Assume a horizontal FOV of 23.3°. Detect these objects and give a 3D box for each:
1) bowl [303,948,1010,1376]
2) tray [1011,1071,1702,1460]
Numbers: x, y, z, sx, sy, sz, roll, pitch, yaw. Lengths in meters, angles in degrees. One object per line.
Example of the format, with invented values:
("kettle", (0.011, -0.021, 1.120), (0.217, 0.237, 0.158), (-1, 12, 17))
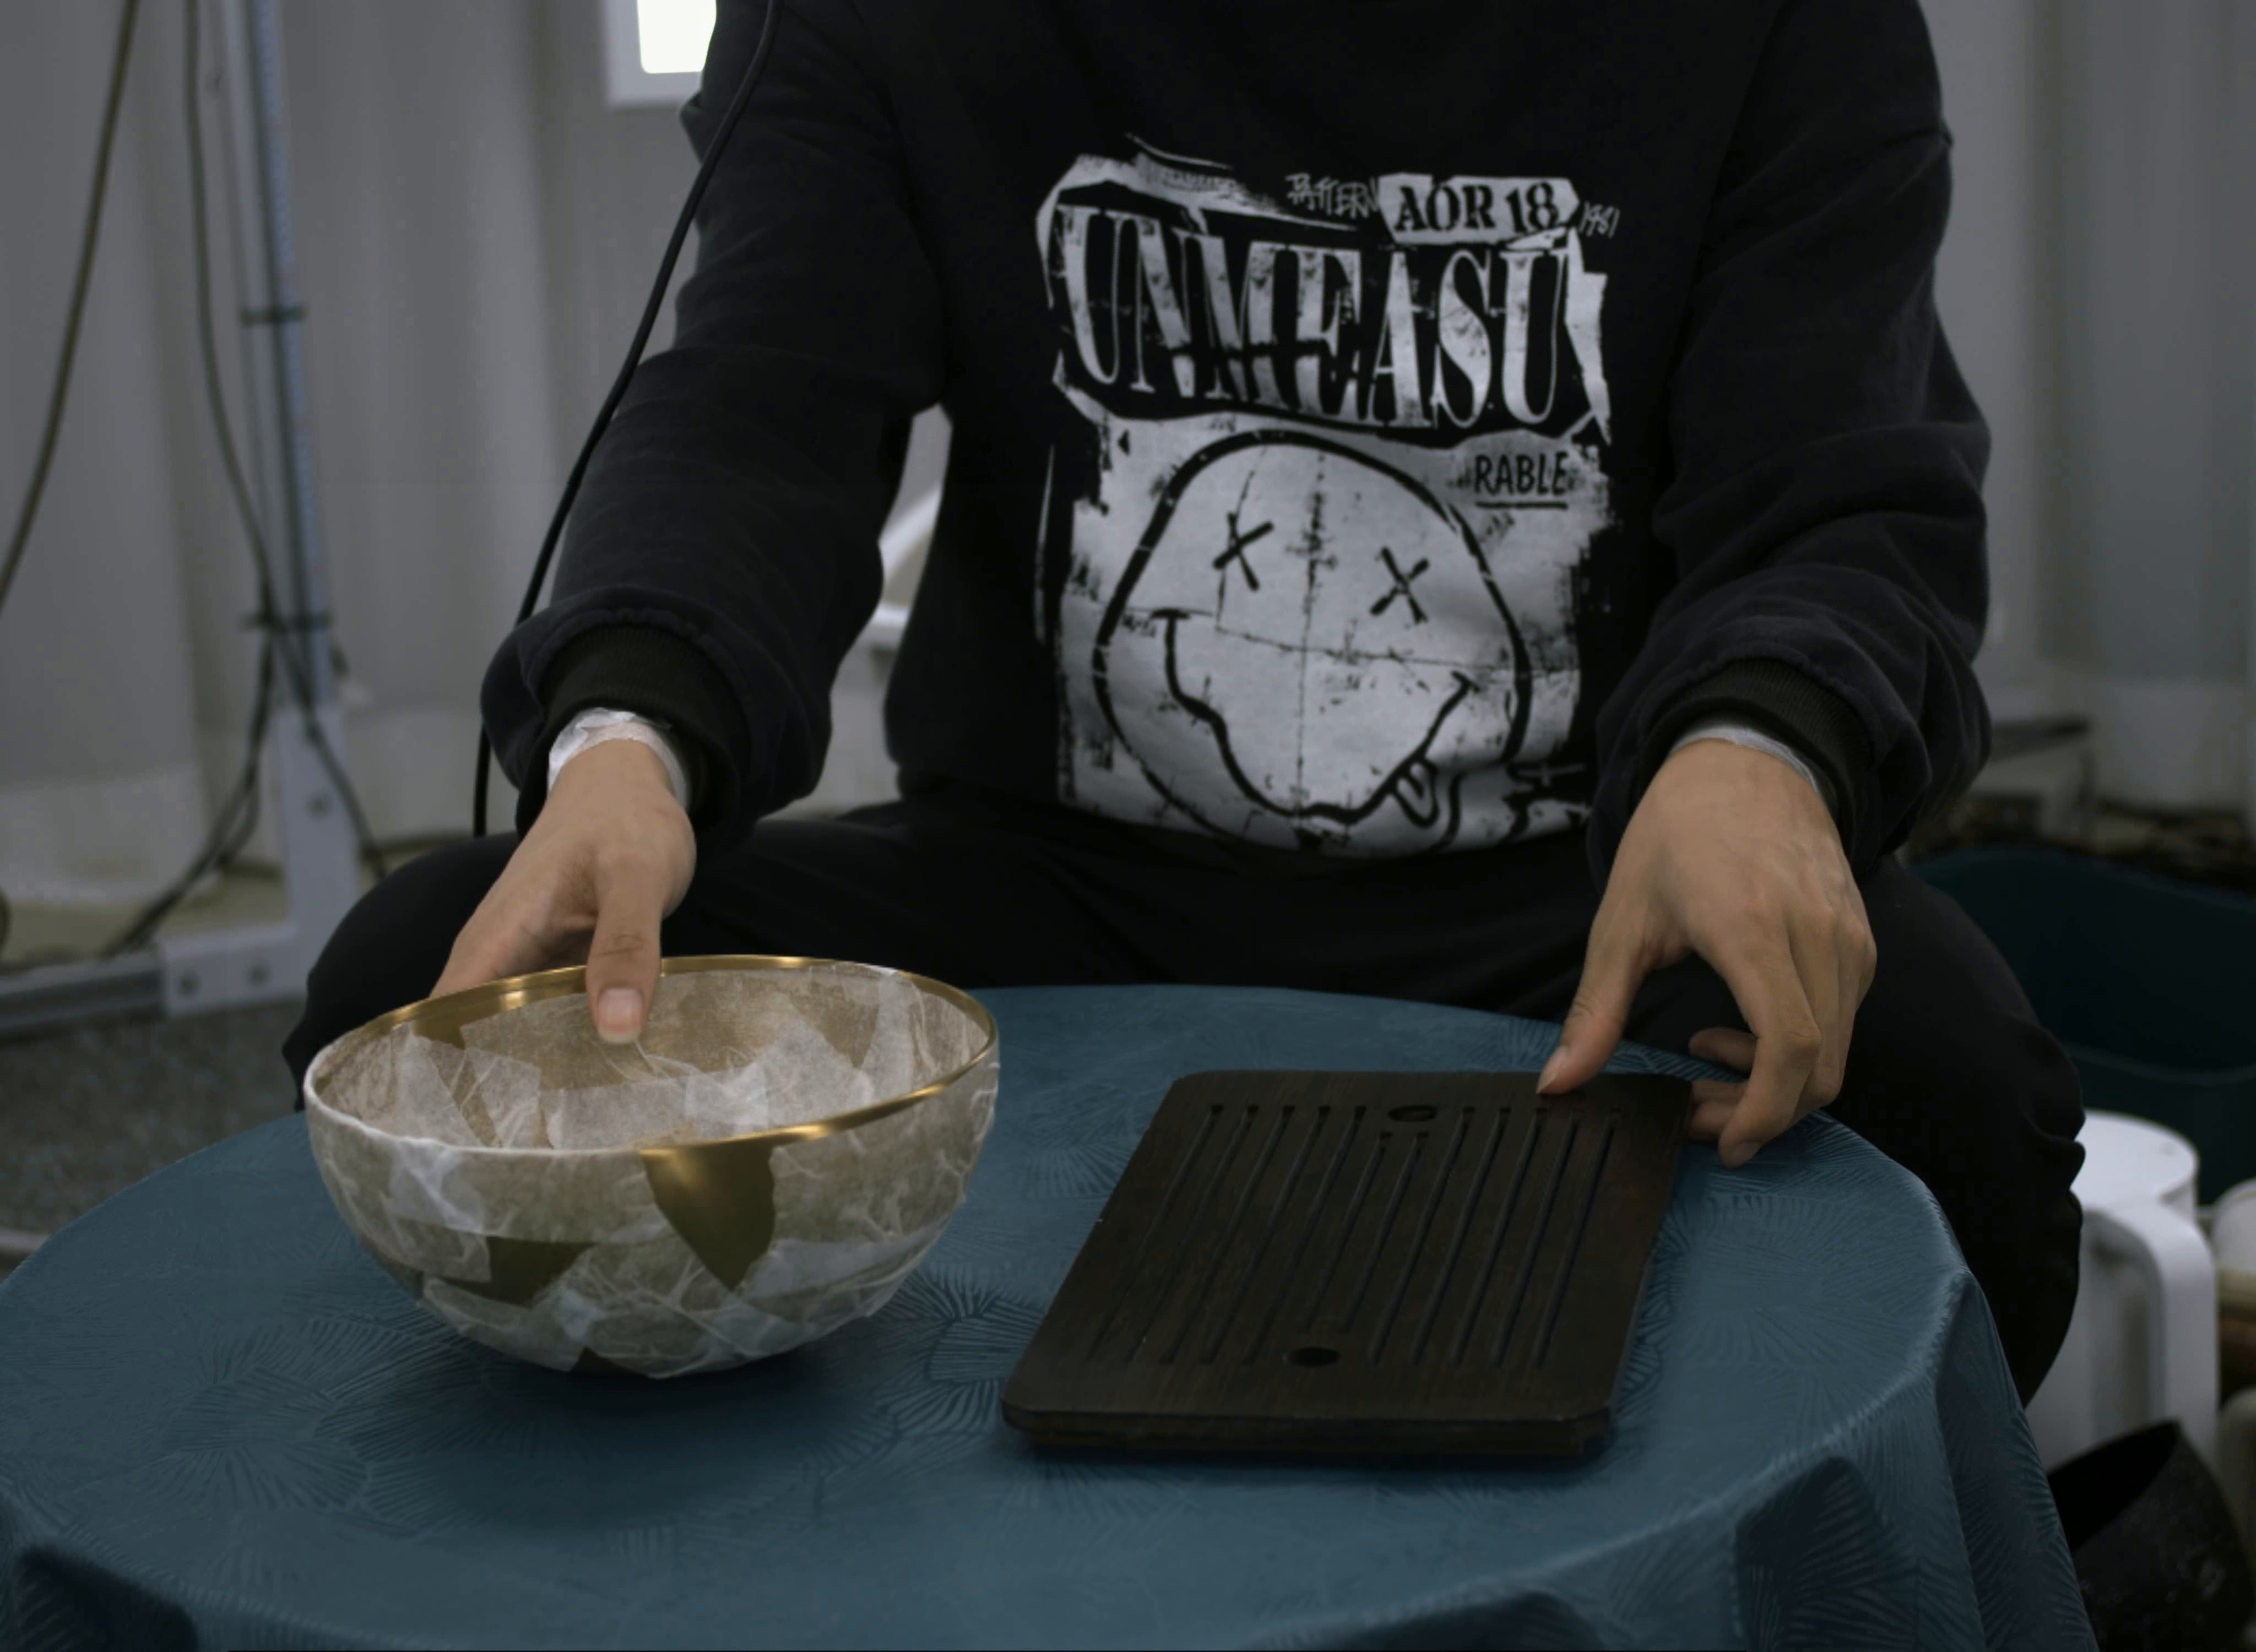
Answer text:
("bowl", (-0.131, 0.105, 1.593), (0.214, 0.094, 0.216), (-4, 13, 1))
("tray", (0.075, 0.127, 1.619), (0.170, 0.018, 0.307), (0, 15, 11))
